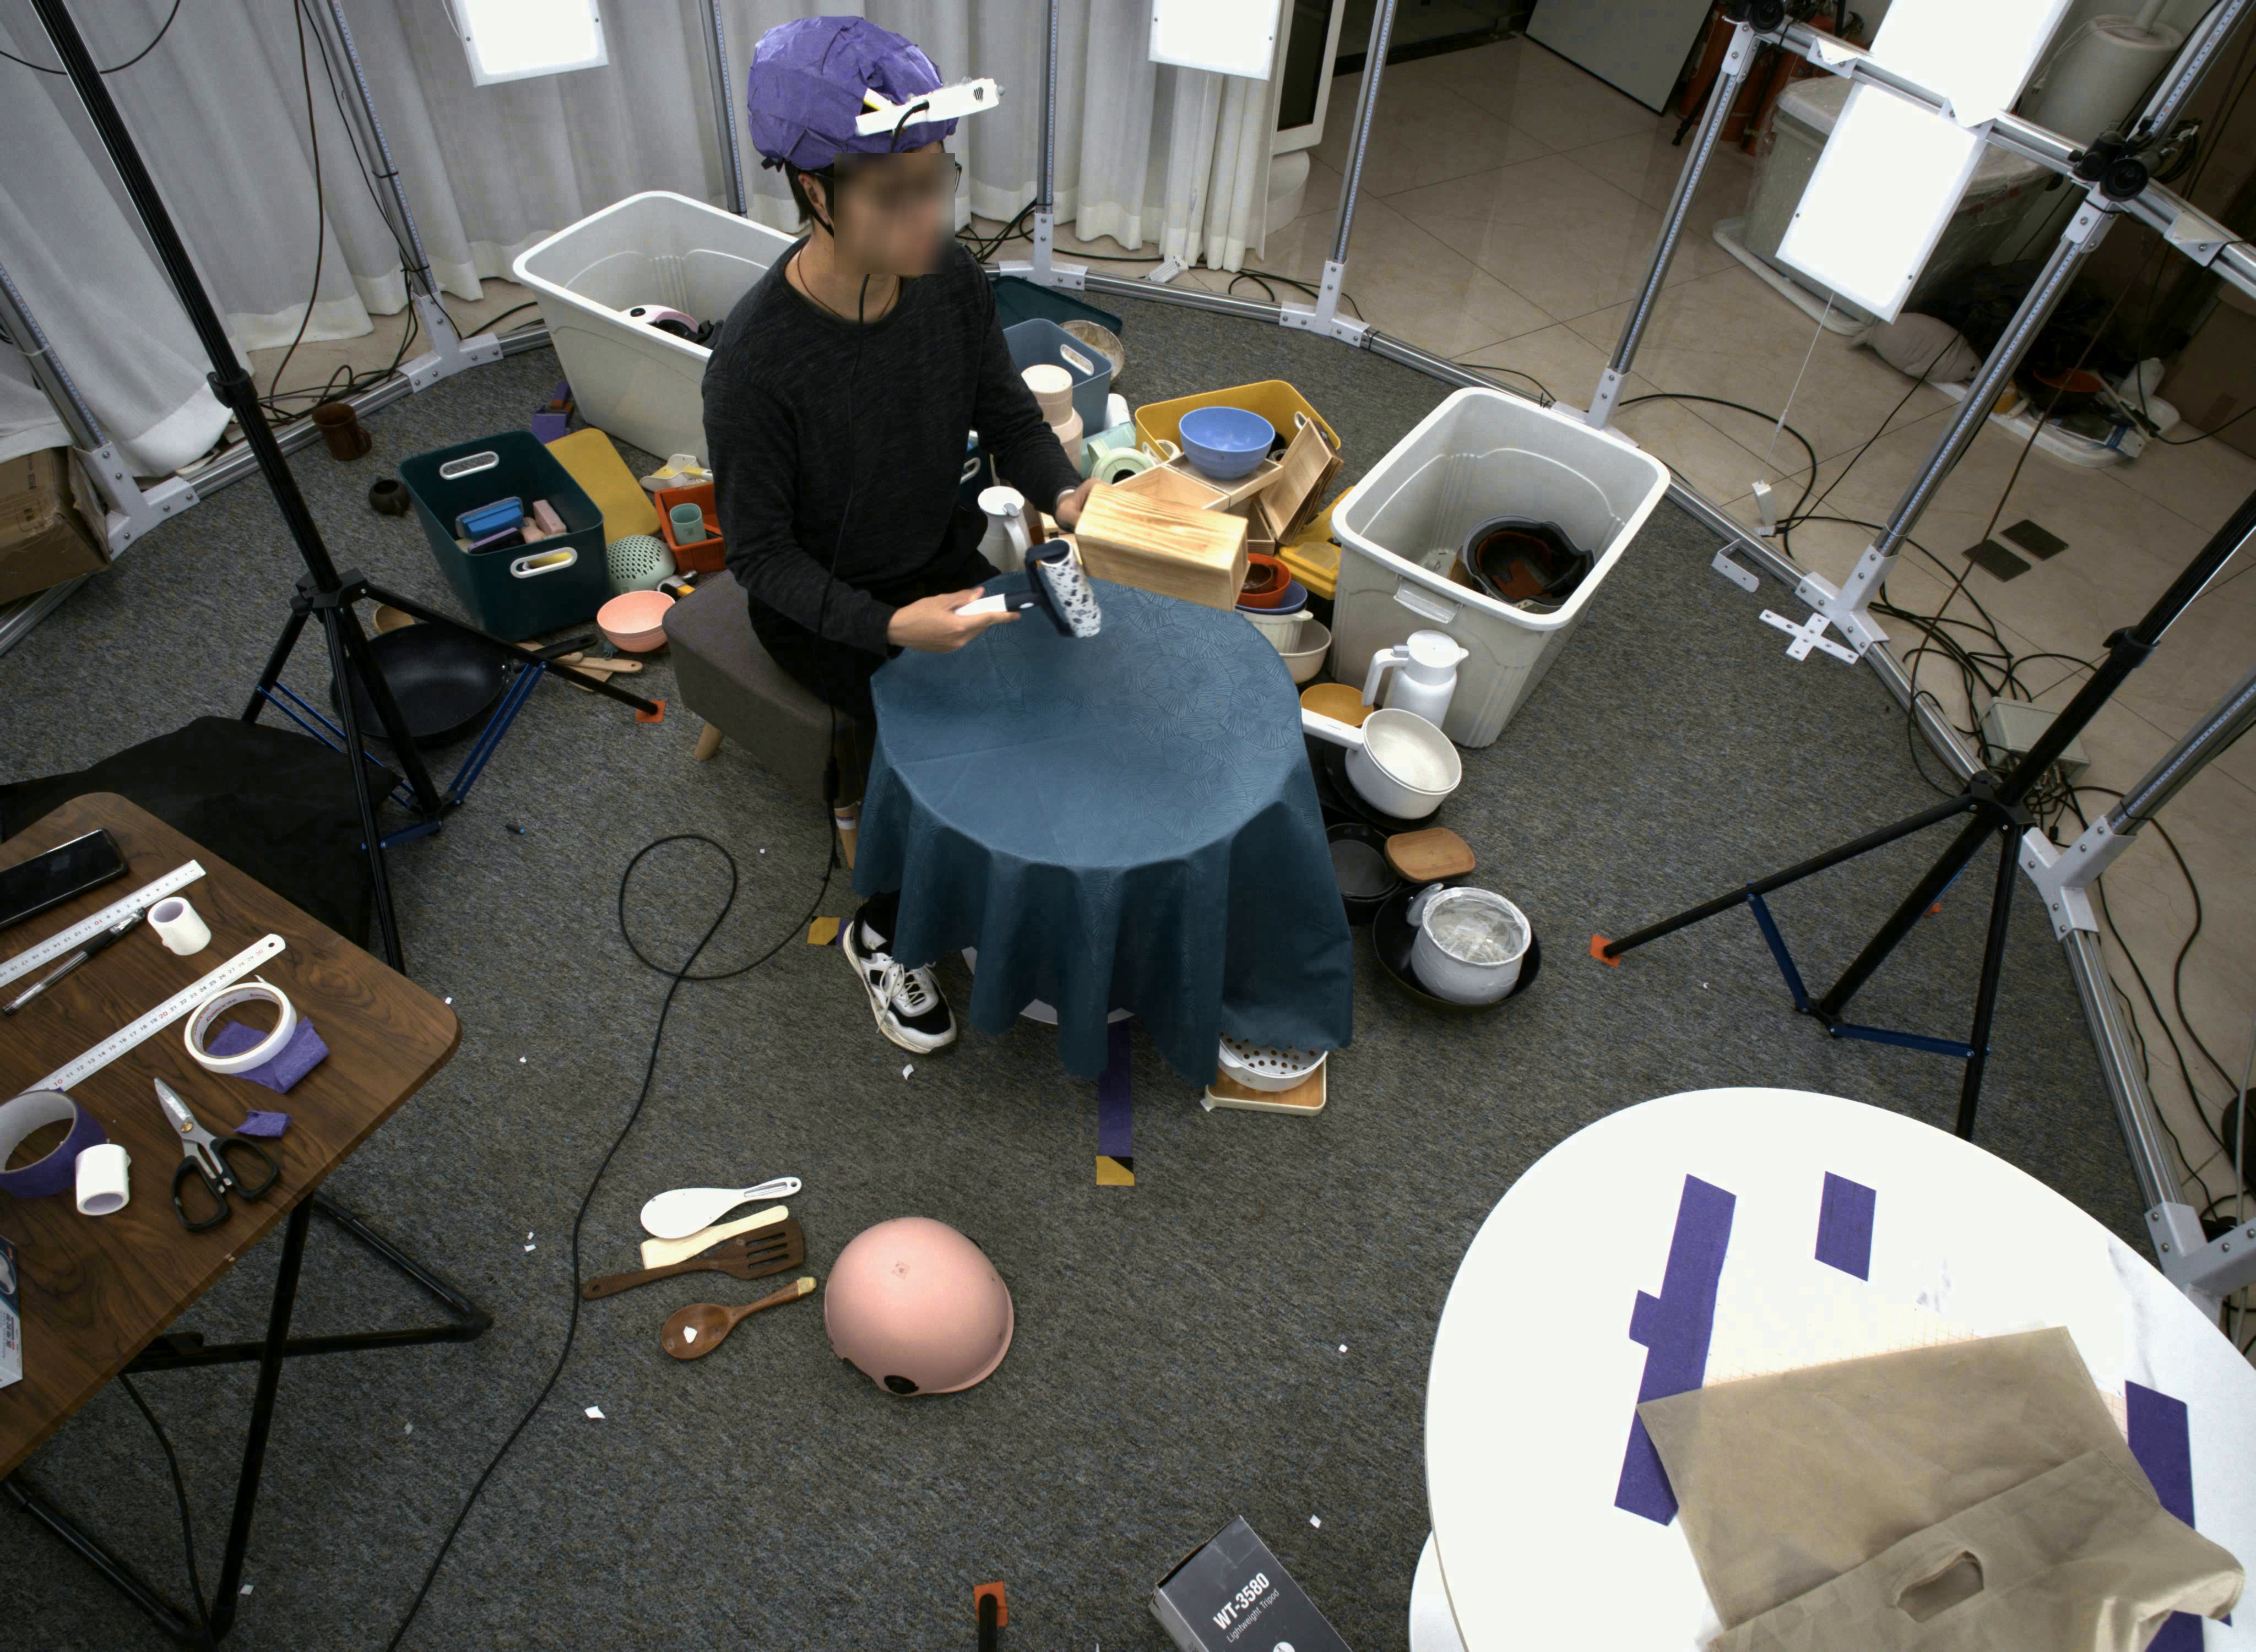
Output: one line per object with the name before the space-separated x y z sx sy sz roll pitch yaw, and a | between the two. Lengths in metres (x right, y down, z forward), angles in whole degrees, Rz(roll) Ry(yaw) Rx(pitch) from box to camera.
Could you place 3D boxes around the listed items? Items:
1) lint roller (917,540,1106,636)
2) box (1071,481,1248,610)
lint roller | -0.168 -0.298 1.753 0.247 0.172 0.051 -13 62 11
box | 0.044 -0.366 1.684 0.212 0.105 0.081 16 70 14
